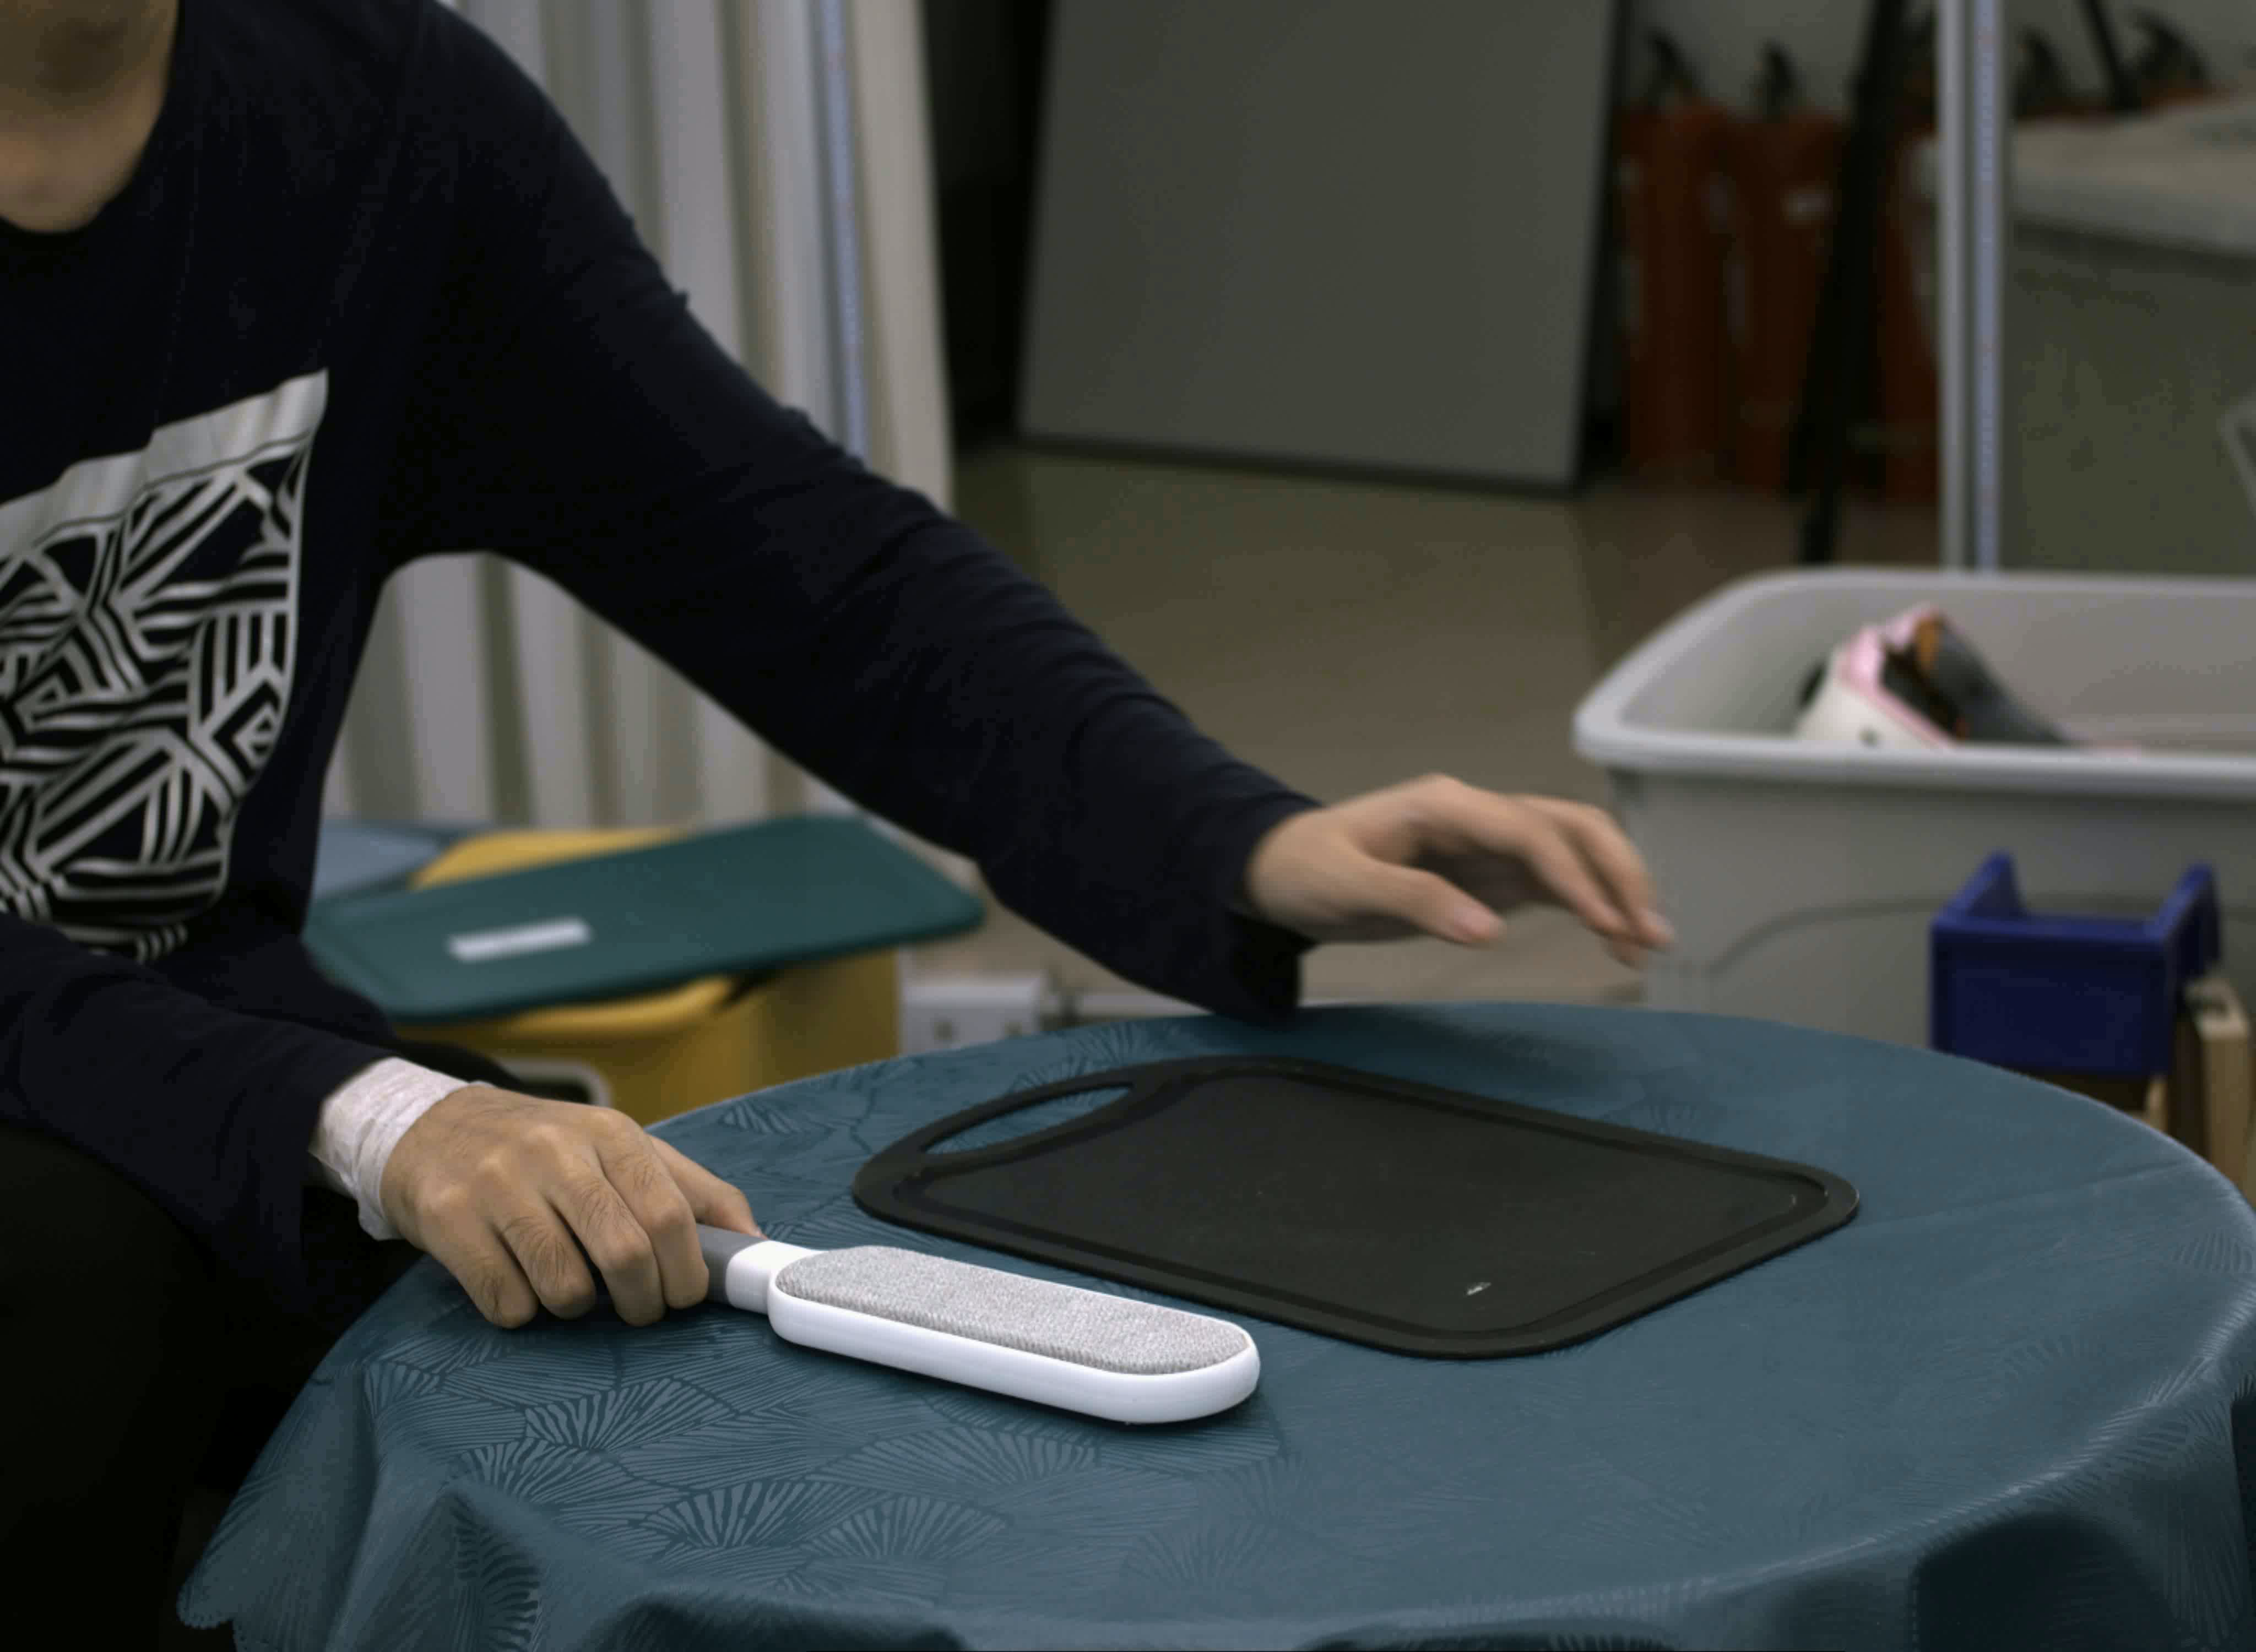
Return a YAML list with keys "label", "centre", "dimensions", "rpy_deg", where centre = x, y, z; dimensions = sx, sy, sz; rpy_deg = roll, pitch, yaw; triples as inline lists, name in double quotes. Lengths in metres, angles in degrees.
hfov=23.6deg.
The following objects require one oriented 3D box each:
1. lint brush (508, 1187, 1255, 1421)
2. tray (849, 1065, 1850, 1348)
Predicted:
- label: "lint brush"
  centre: [-0.082, 0.142, 1.655]
  dimensions: [0.311, 0.021, 0.059]
  rpy_deg: [8, 23, 42]
- label: "tray"
  centre: [0.062, 0.118, 1.757]
  dimensions: [0.207, 0.010, 0.328]
  rpy_deg: [-16, 18, -42]
